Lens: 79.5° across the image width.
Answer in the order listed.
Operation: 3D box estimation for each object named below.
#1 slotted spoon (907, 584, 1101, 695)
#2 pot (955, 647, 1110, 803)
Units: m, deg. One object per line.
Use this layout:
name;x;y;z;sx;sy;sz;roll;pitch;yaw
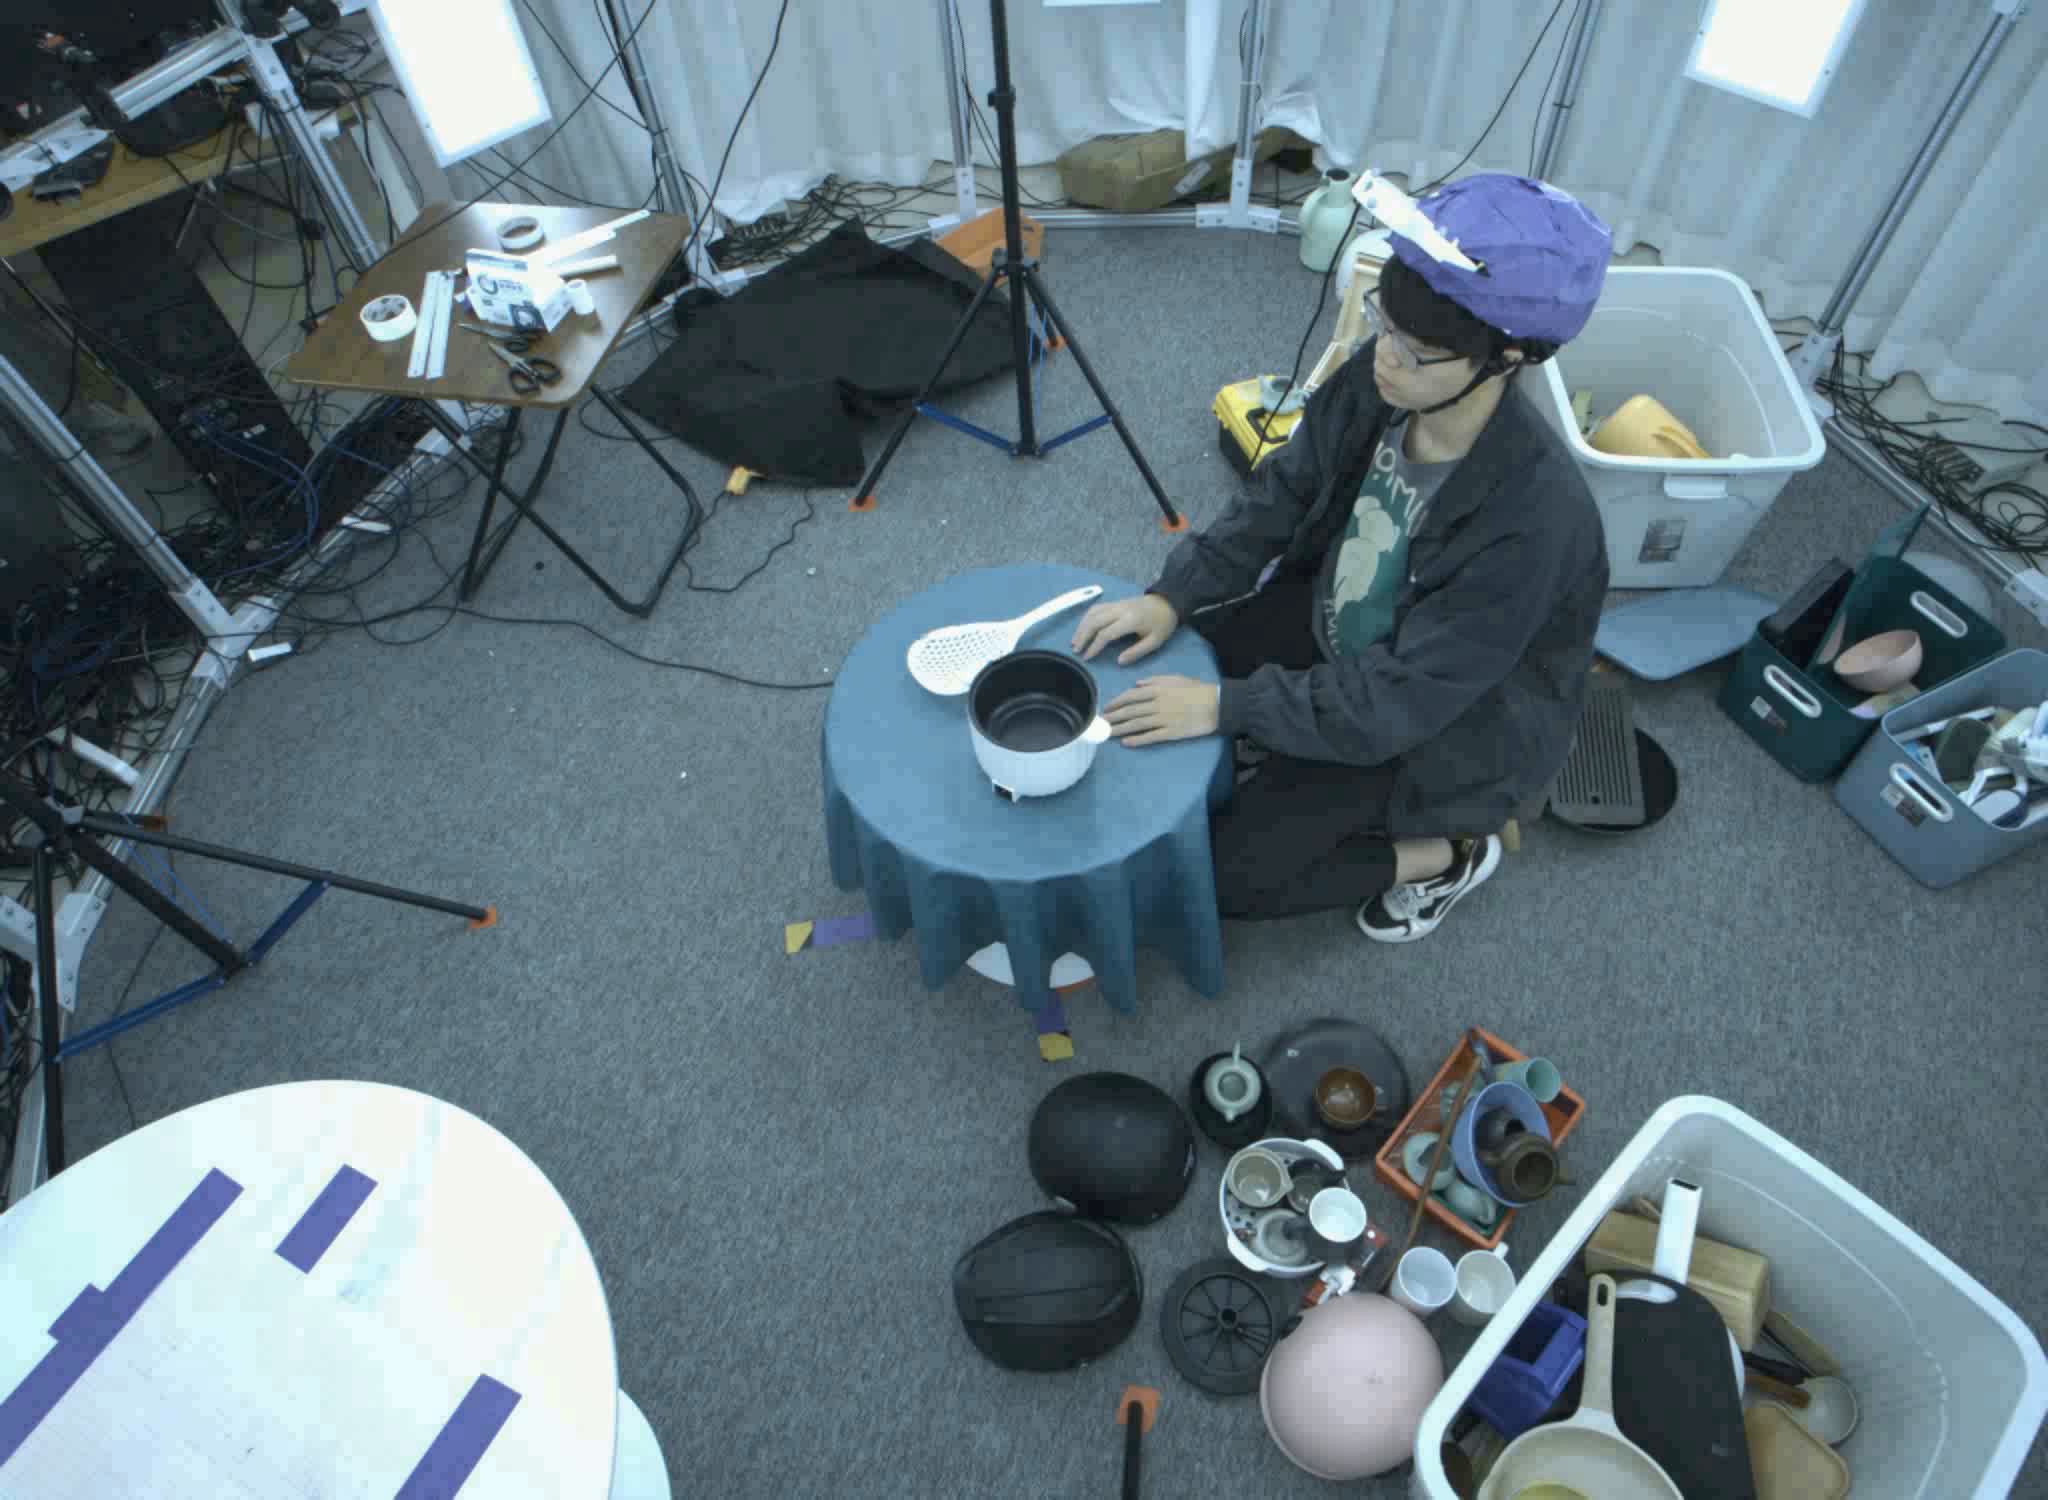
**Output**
slotted spoon;-0.017;-0.182;1.884;0.350;0.051;0.134;-32;59;-19
pot;0.016;-0.036;1.719;0.237;0.144;0.191;26;63;18
